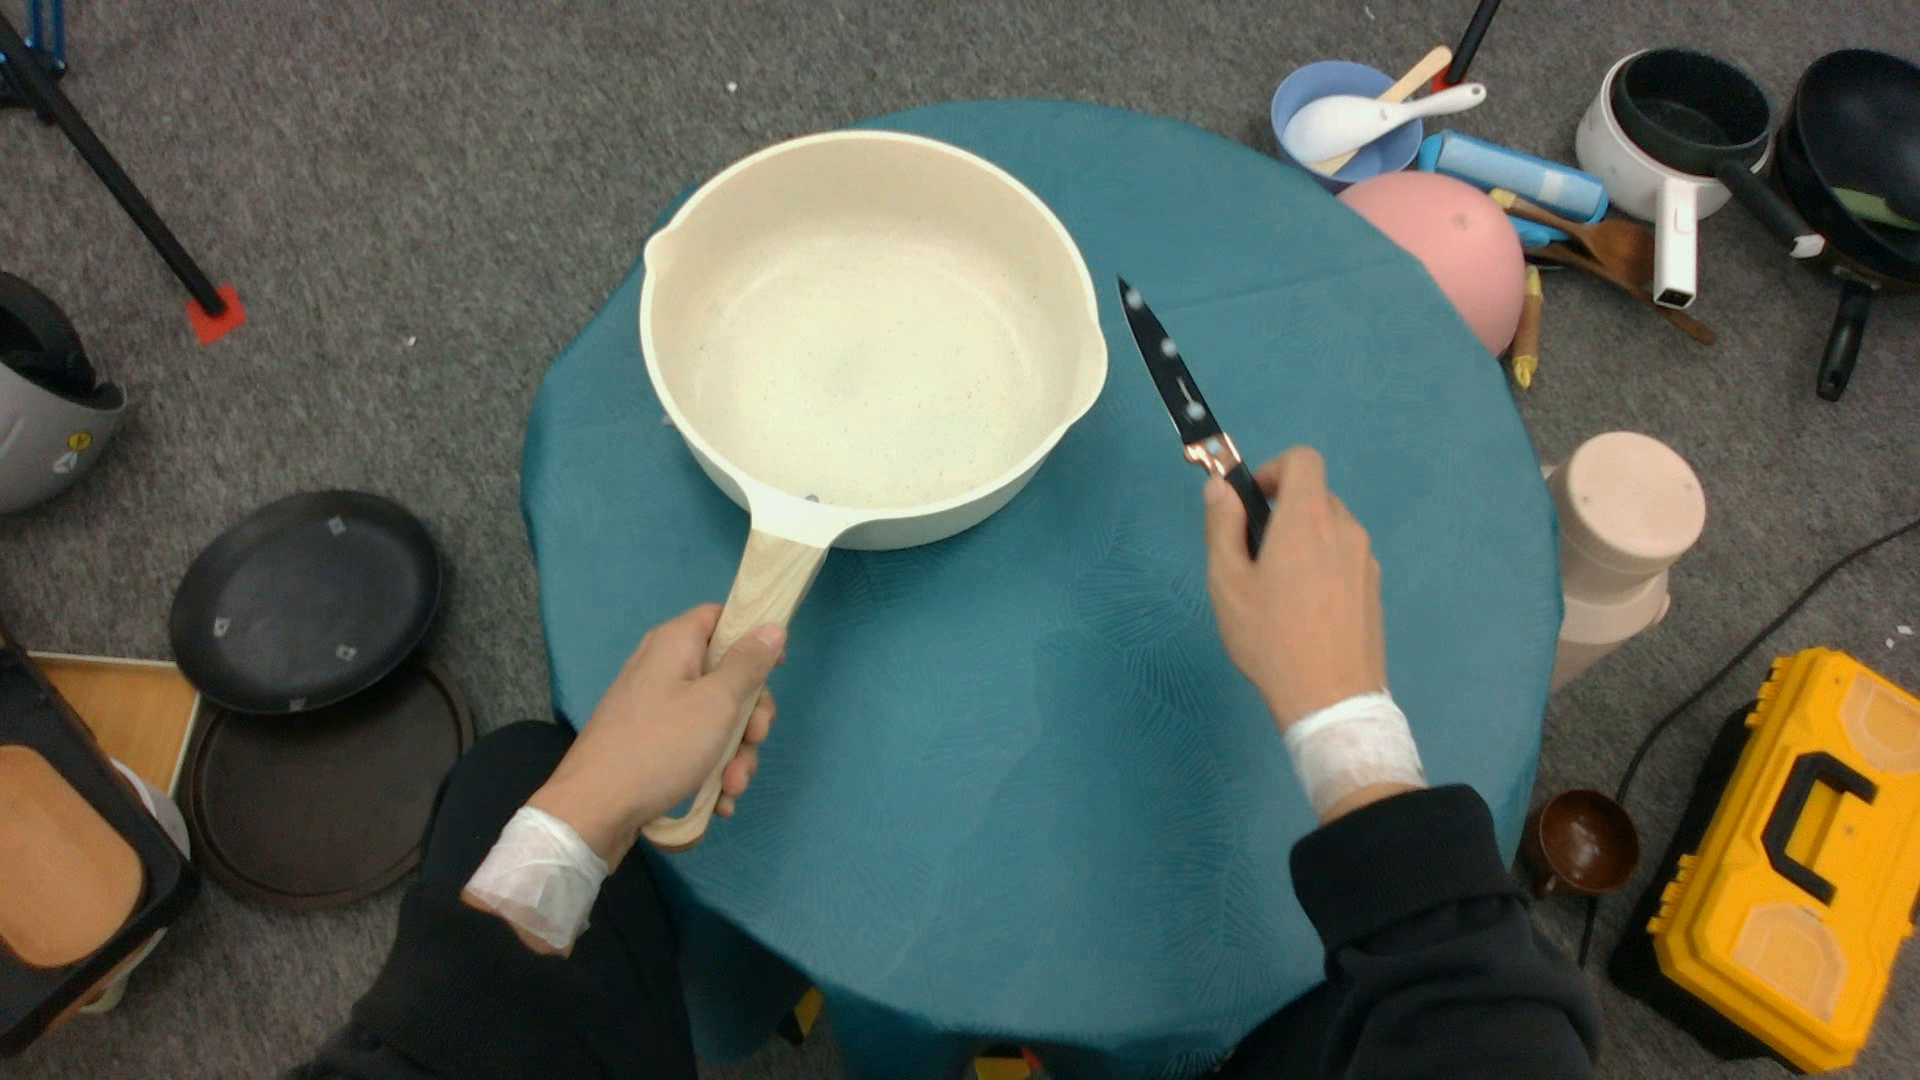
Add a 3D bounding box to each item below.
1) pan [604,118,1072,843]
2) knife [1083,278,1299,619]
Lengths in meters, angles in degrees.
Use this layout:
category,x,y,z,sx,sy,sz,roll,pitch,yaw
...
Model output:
category,x,y,z,sx,sy,sz,roll,pitch,yaw
pan,-0.093,-0.040,0.745,0.263,0.101,0.436,16,64,0
knife,0.118,-0.055,0.725,0.026,0.017,0.226,-24,66,0
